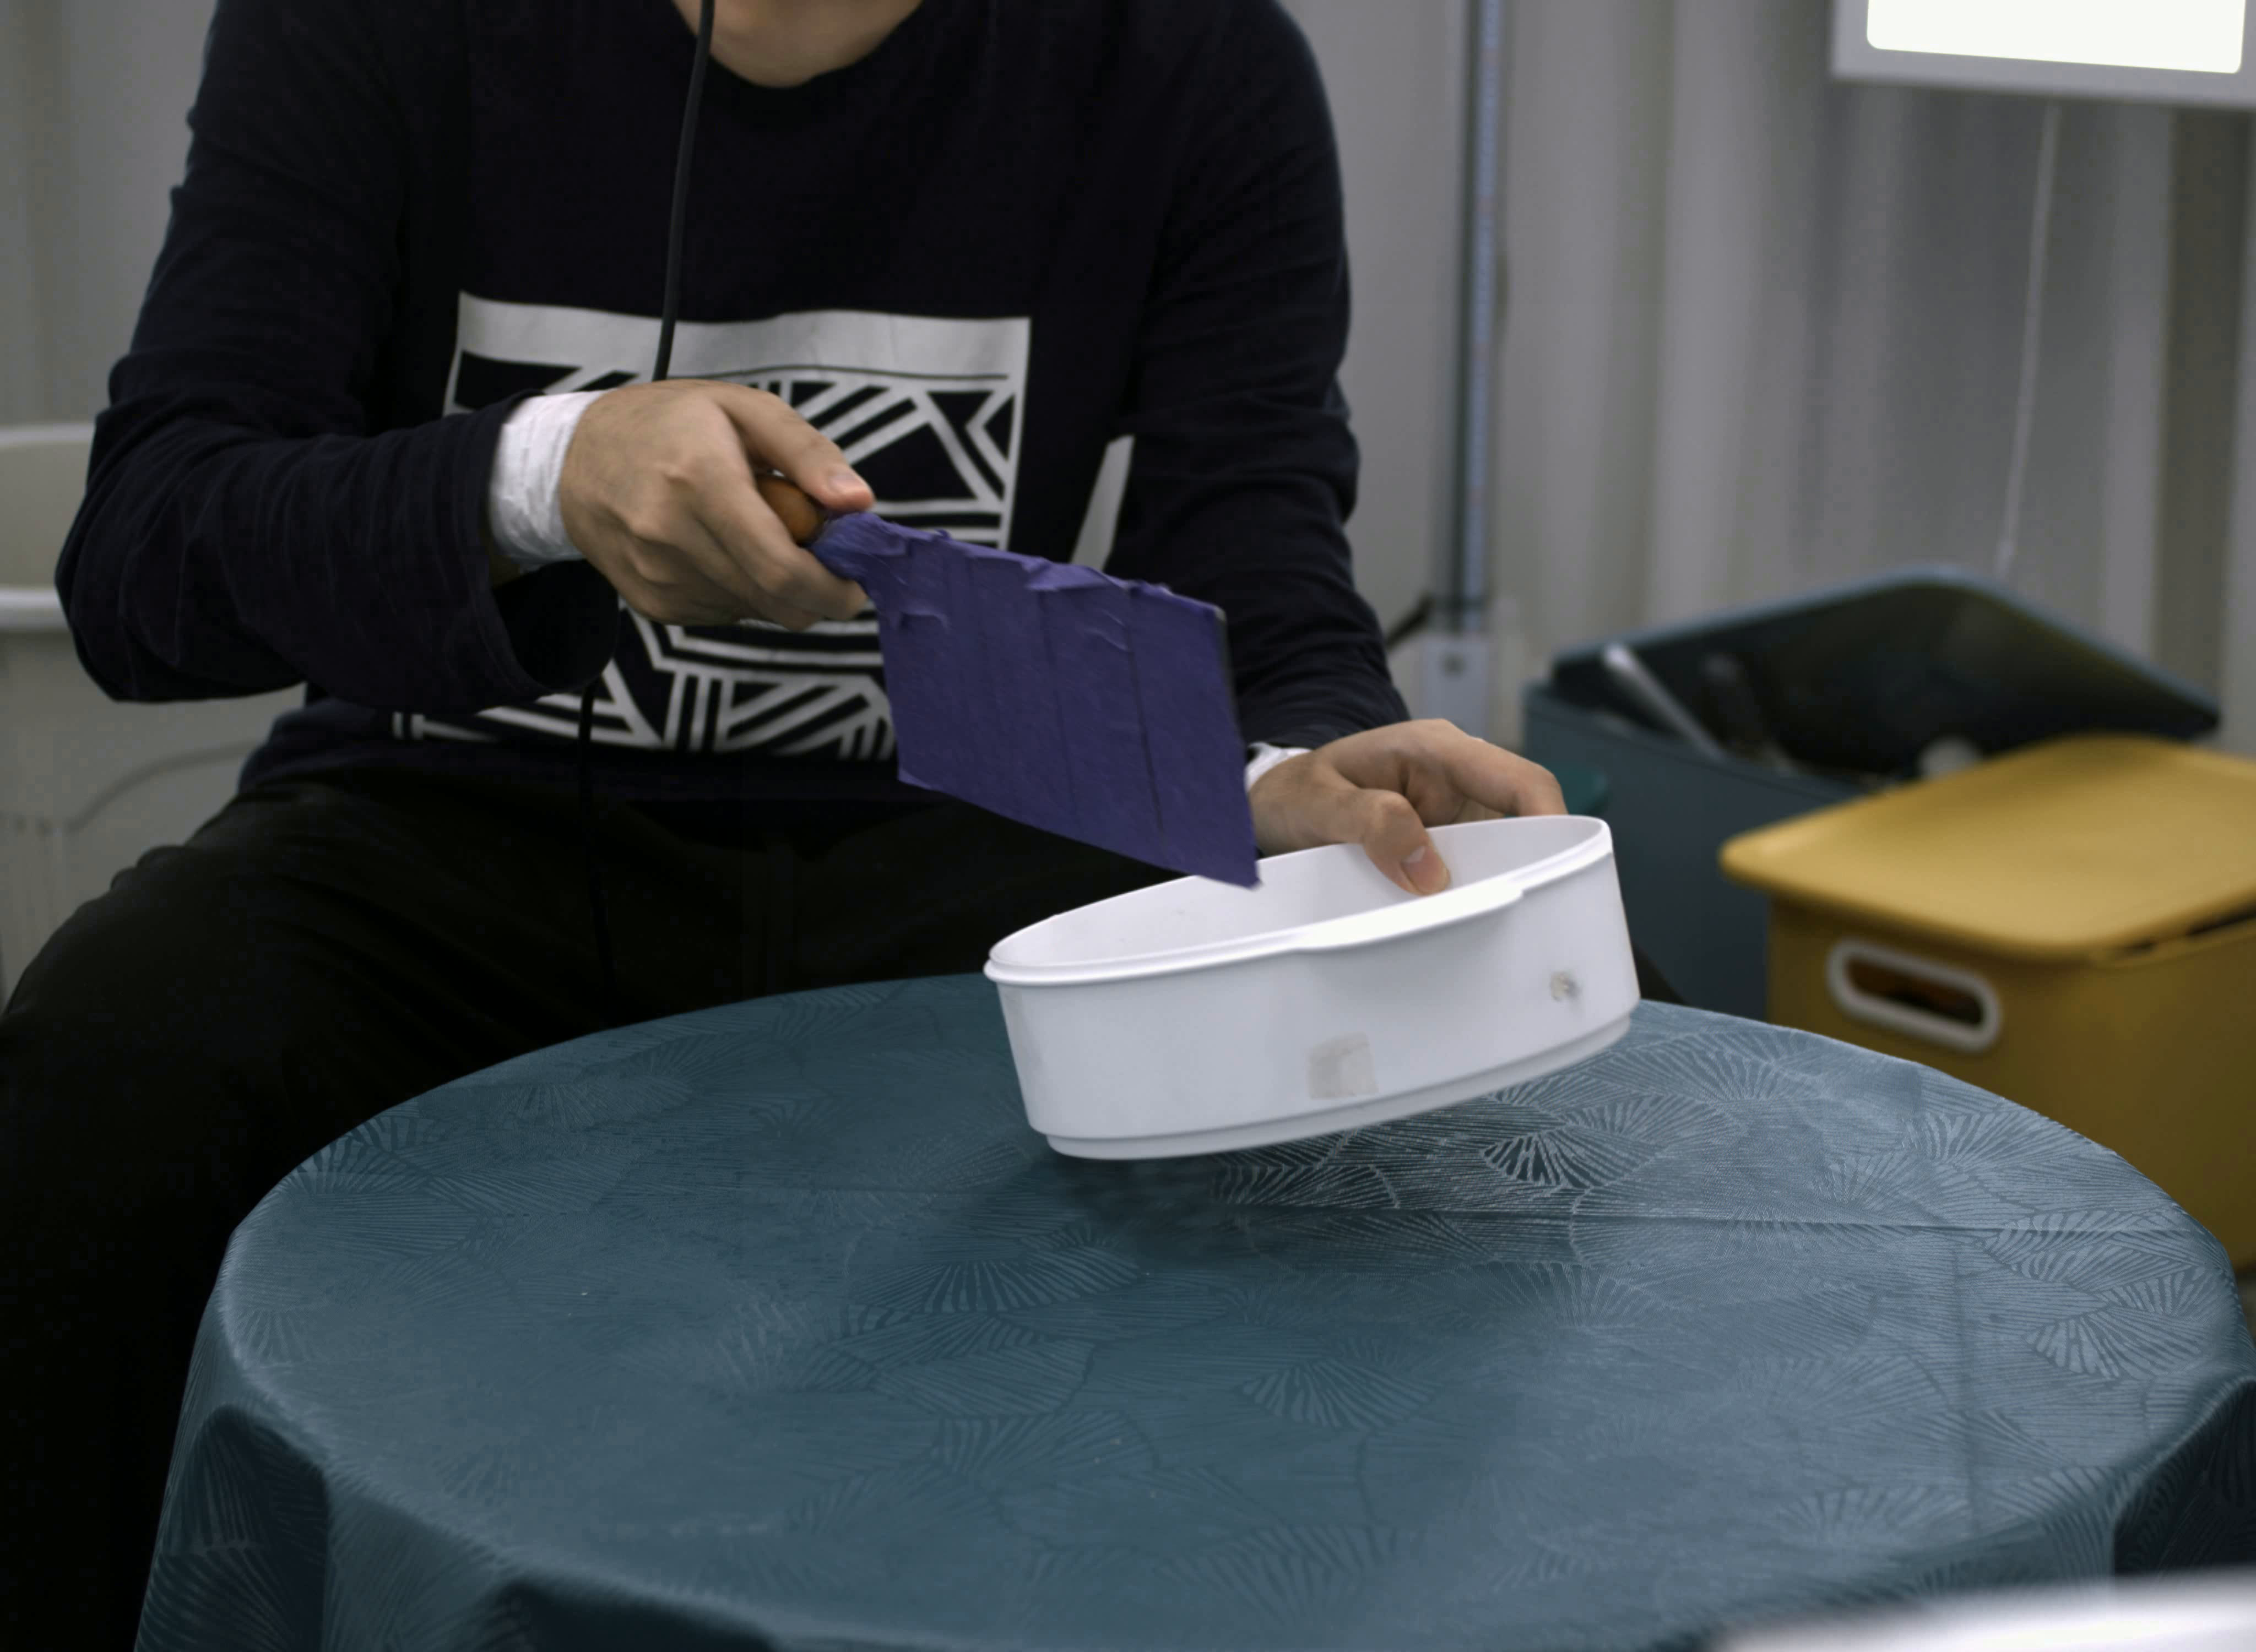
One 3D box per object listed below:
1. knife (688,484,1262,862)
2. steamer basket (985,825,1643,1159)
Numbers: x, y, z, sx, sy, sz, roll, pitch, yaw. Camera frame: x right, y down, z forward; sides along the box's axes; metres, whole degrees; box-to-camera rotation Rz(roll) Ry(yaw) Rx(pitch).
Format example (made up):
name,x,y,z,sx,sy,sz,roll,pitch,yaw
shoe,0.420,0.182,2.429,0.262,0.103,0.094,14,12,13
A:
name,x,y,z,sx,sy,sz,roll,pitch,yaw
knife,-0.053,-0.048,1.652,0.032,0.105,0.311,-16,18,-28
steamer basket,0.060,0.052,1.624,0.202,0.069,0.229,-13,2,-17
